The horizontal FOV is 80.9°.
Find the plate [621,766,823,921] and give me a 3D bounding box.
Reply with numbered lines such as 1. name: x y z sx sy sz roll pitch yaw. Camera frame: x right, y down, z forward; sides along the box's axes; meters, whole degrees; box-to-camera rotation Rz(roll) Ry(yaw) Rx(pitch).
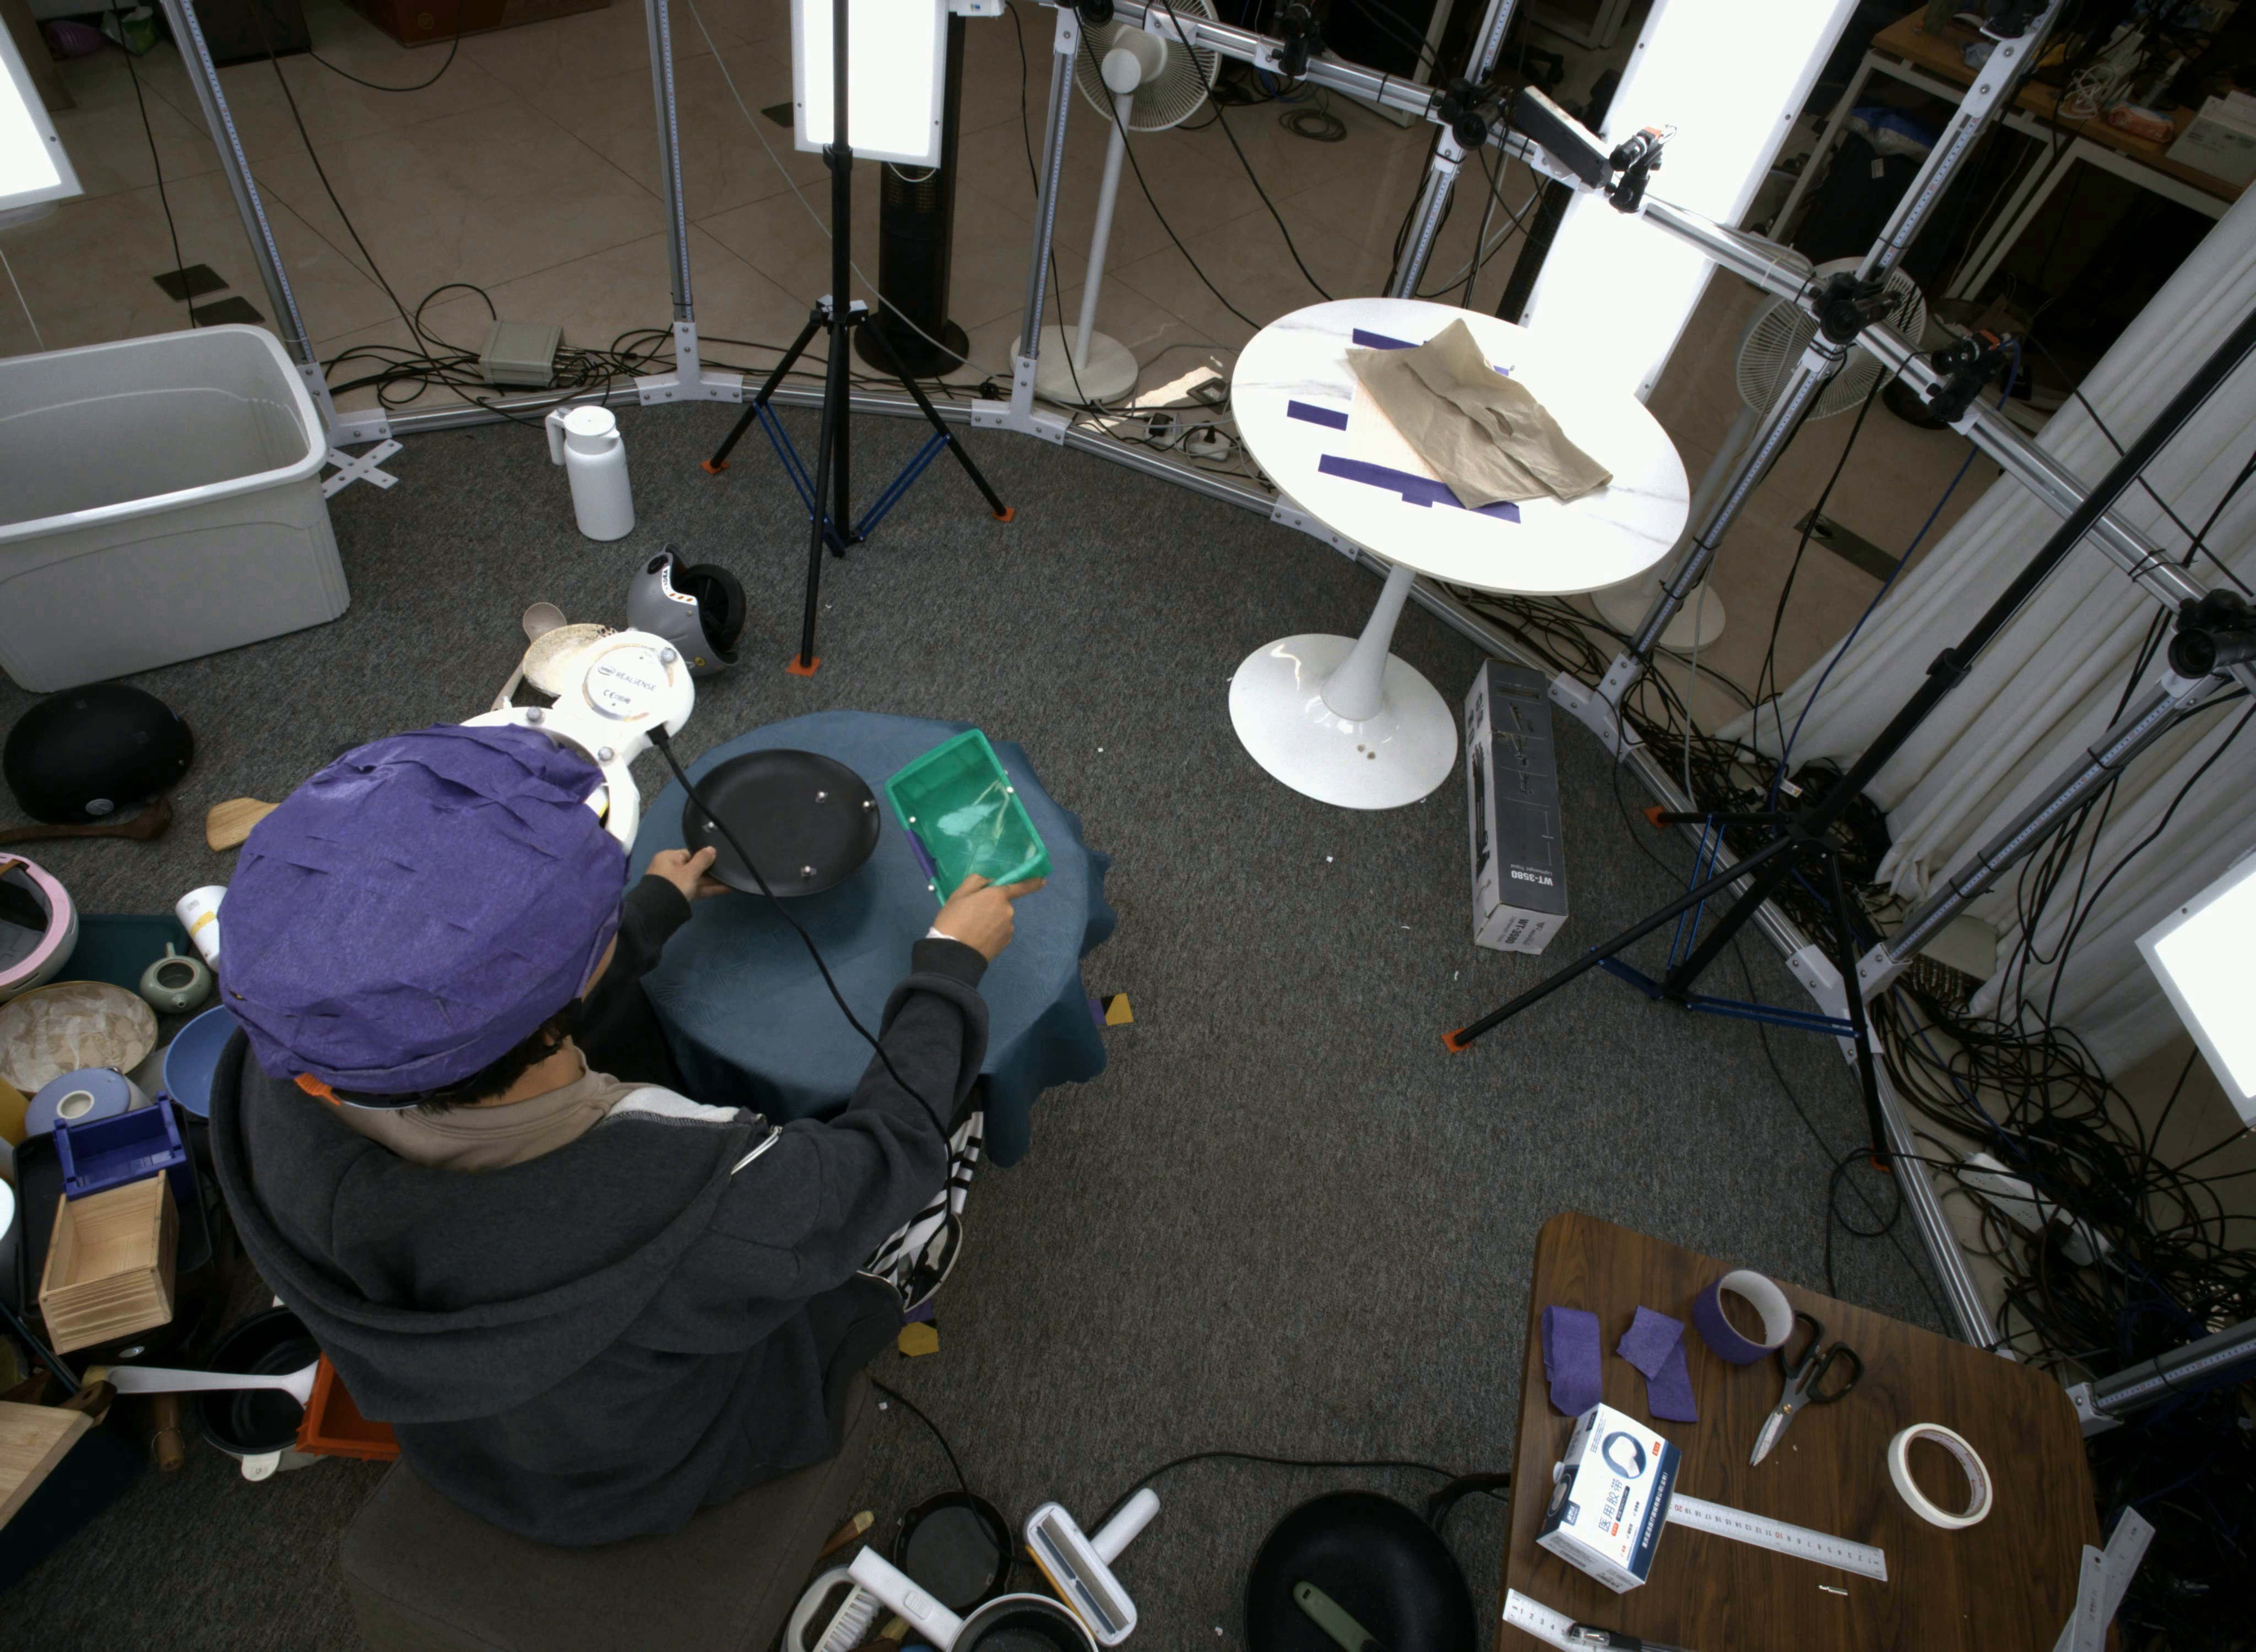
1. plate: -0.498 0.022 1.588 0.244 0.024 0.240 9 49 -9

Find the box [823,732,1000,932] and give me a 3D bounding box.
1. box: -0.247 0.010 1.510 0.138 0.067 0.206 -37 69 2
